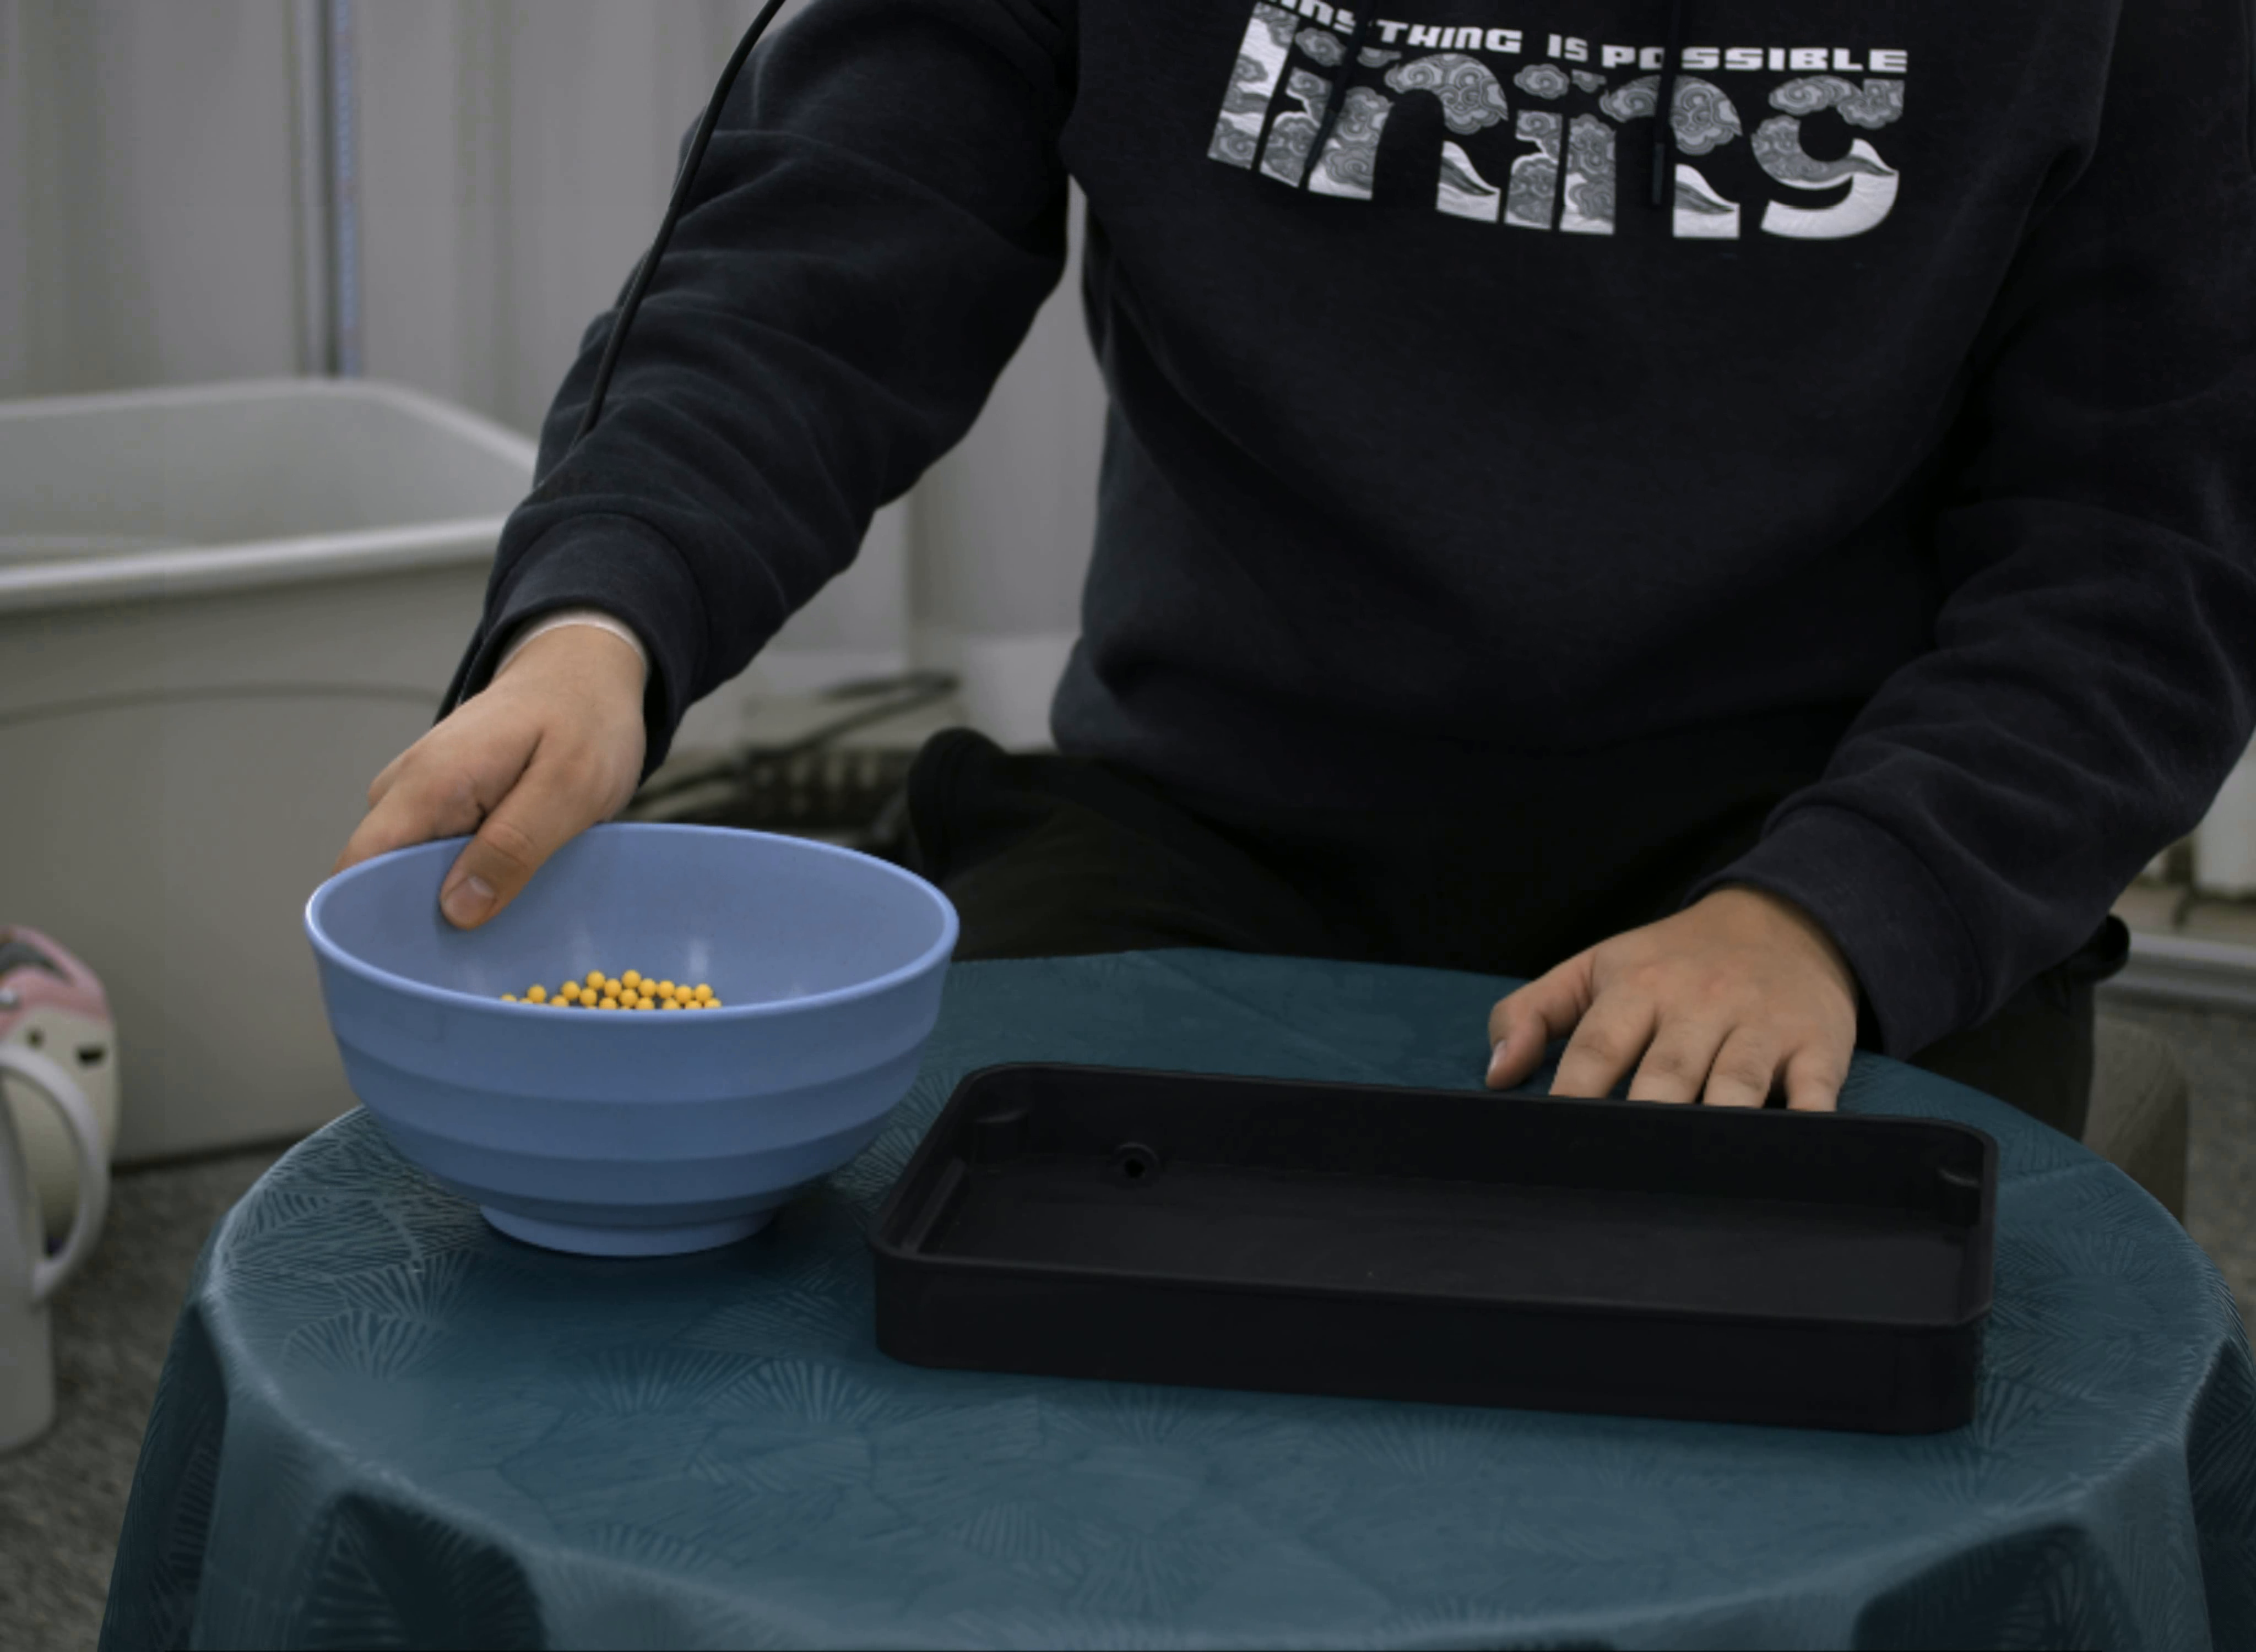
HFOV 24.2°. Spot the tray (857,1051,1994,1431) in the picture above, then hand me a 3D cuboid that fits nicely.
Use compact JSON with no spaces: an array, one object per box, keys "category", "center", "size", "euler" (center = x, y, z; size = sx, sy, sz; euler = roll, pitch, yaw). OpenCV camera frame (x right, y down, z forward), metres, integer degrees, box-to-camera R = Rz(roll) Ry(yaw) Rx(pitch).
[{"category":"tray","center":[0.091,0.118,1.538],"size":[0.316,0.037,0.184],"euler":[3,15,8]}]

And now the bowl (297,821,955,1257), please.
[{"category":"bowl","center":[-0.150,0.069,1.588],"size":[0.196,0.096,0.195],"euler":[1,17,0]}]
